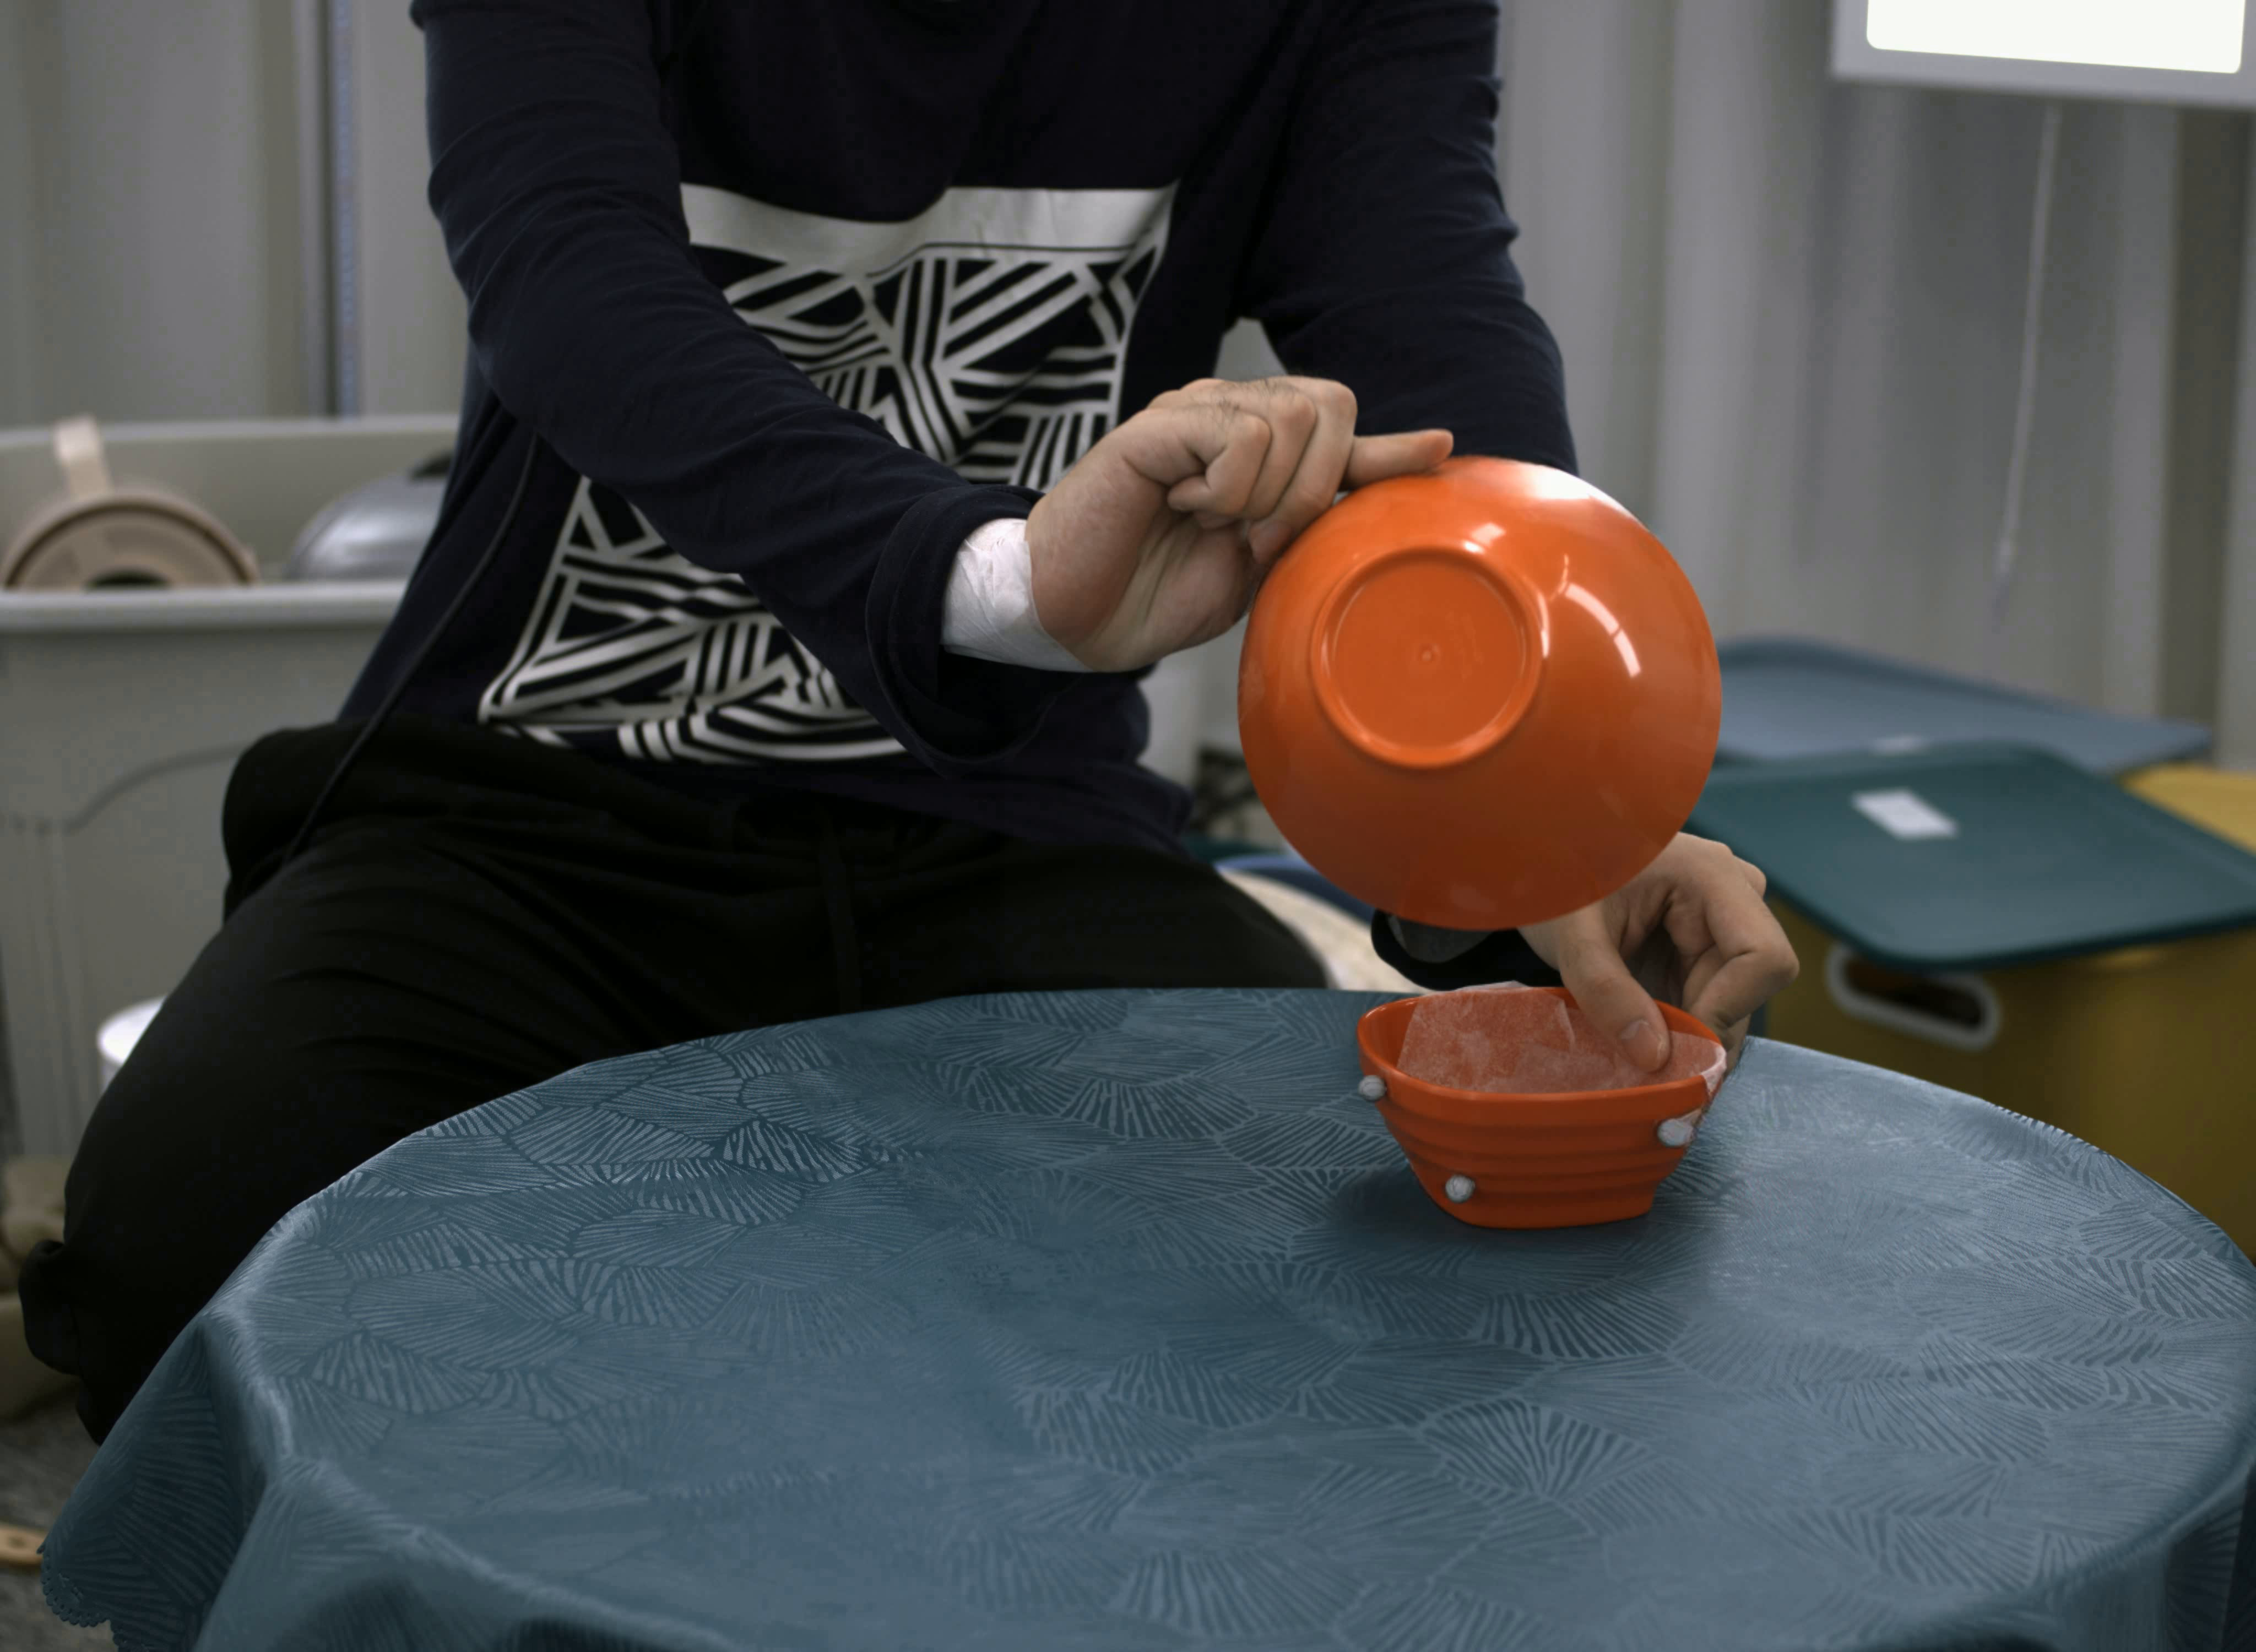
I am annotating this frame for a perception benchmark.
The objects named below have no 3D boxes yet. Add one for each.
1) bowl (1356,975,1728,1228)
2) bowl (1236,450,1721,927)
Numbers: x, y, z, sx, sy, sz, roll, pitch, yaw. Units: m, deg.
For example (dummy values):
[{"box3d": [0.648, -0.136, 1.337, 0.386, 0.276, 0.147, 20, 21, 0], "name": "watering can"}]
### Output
[{"box3d": [0.126, 0.087, 1.619, 0.118, 0.052, 0.118, 0, 18, 0], "name": "bowl"}, {"box3d": [0.101, -0.047, 1.563, 0.147, 0.148, 0.105, 3, -5, 6], "name": "bowl"}]
